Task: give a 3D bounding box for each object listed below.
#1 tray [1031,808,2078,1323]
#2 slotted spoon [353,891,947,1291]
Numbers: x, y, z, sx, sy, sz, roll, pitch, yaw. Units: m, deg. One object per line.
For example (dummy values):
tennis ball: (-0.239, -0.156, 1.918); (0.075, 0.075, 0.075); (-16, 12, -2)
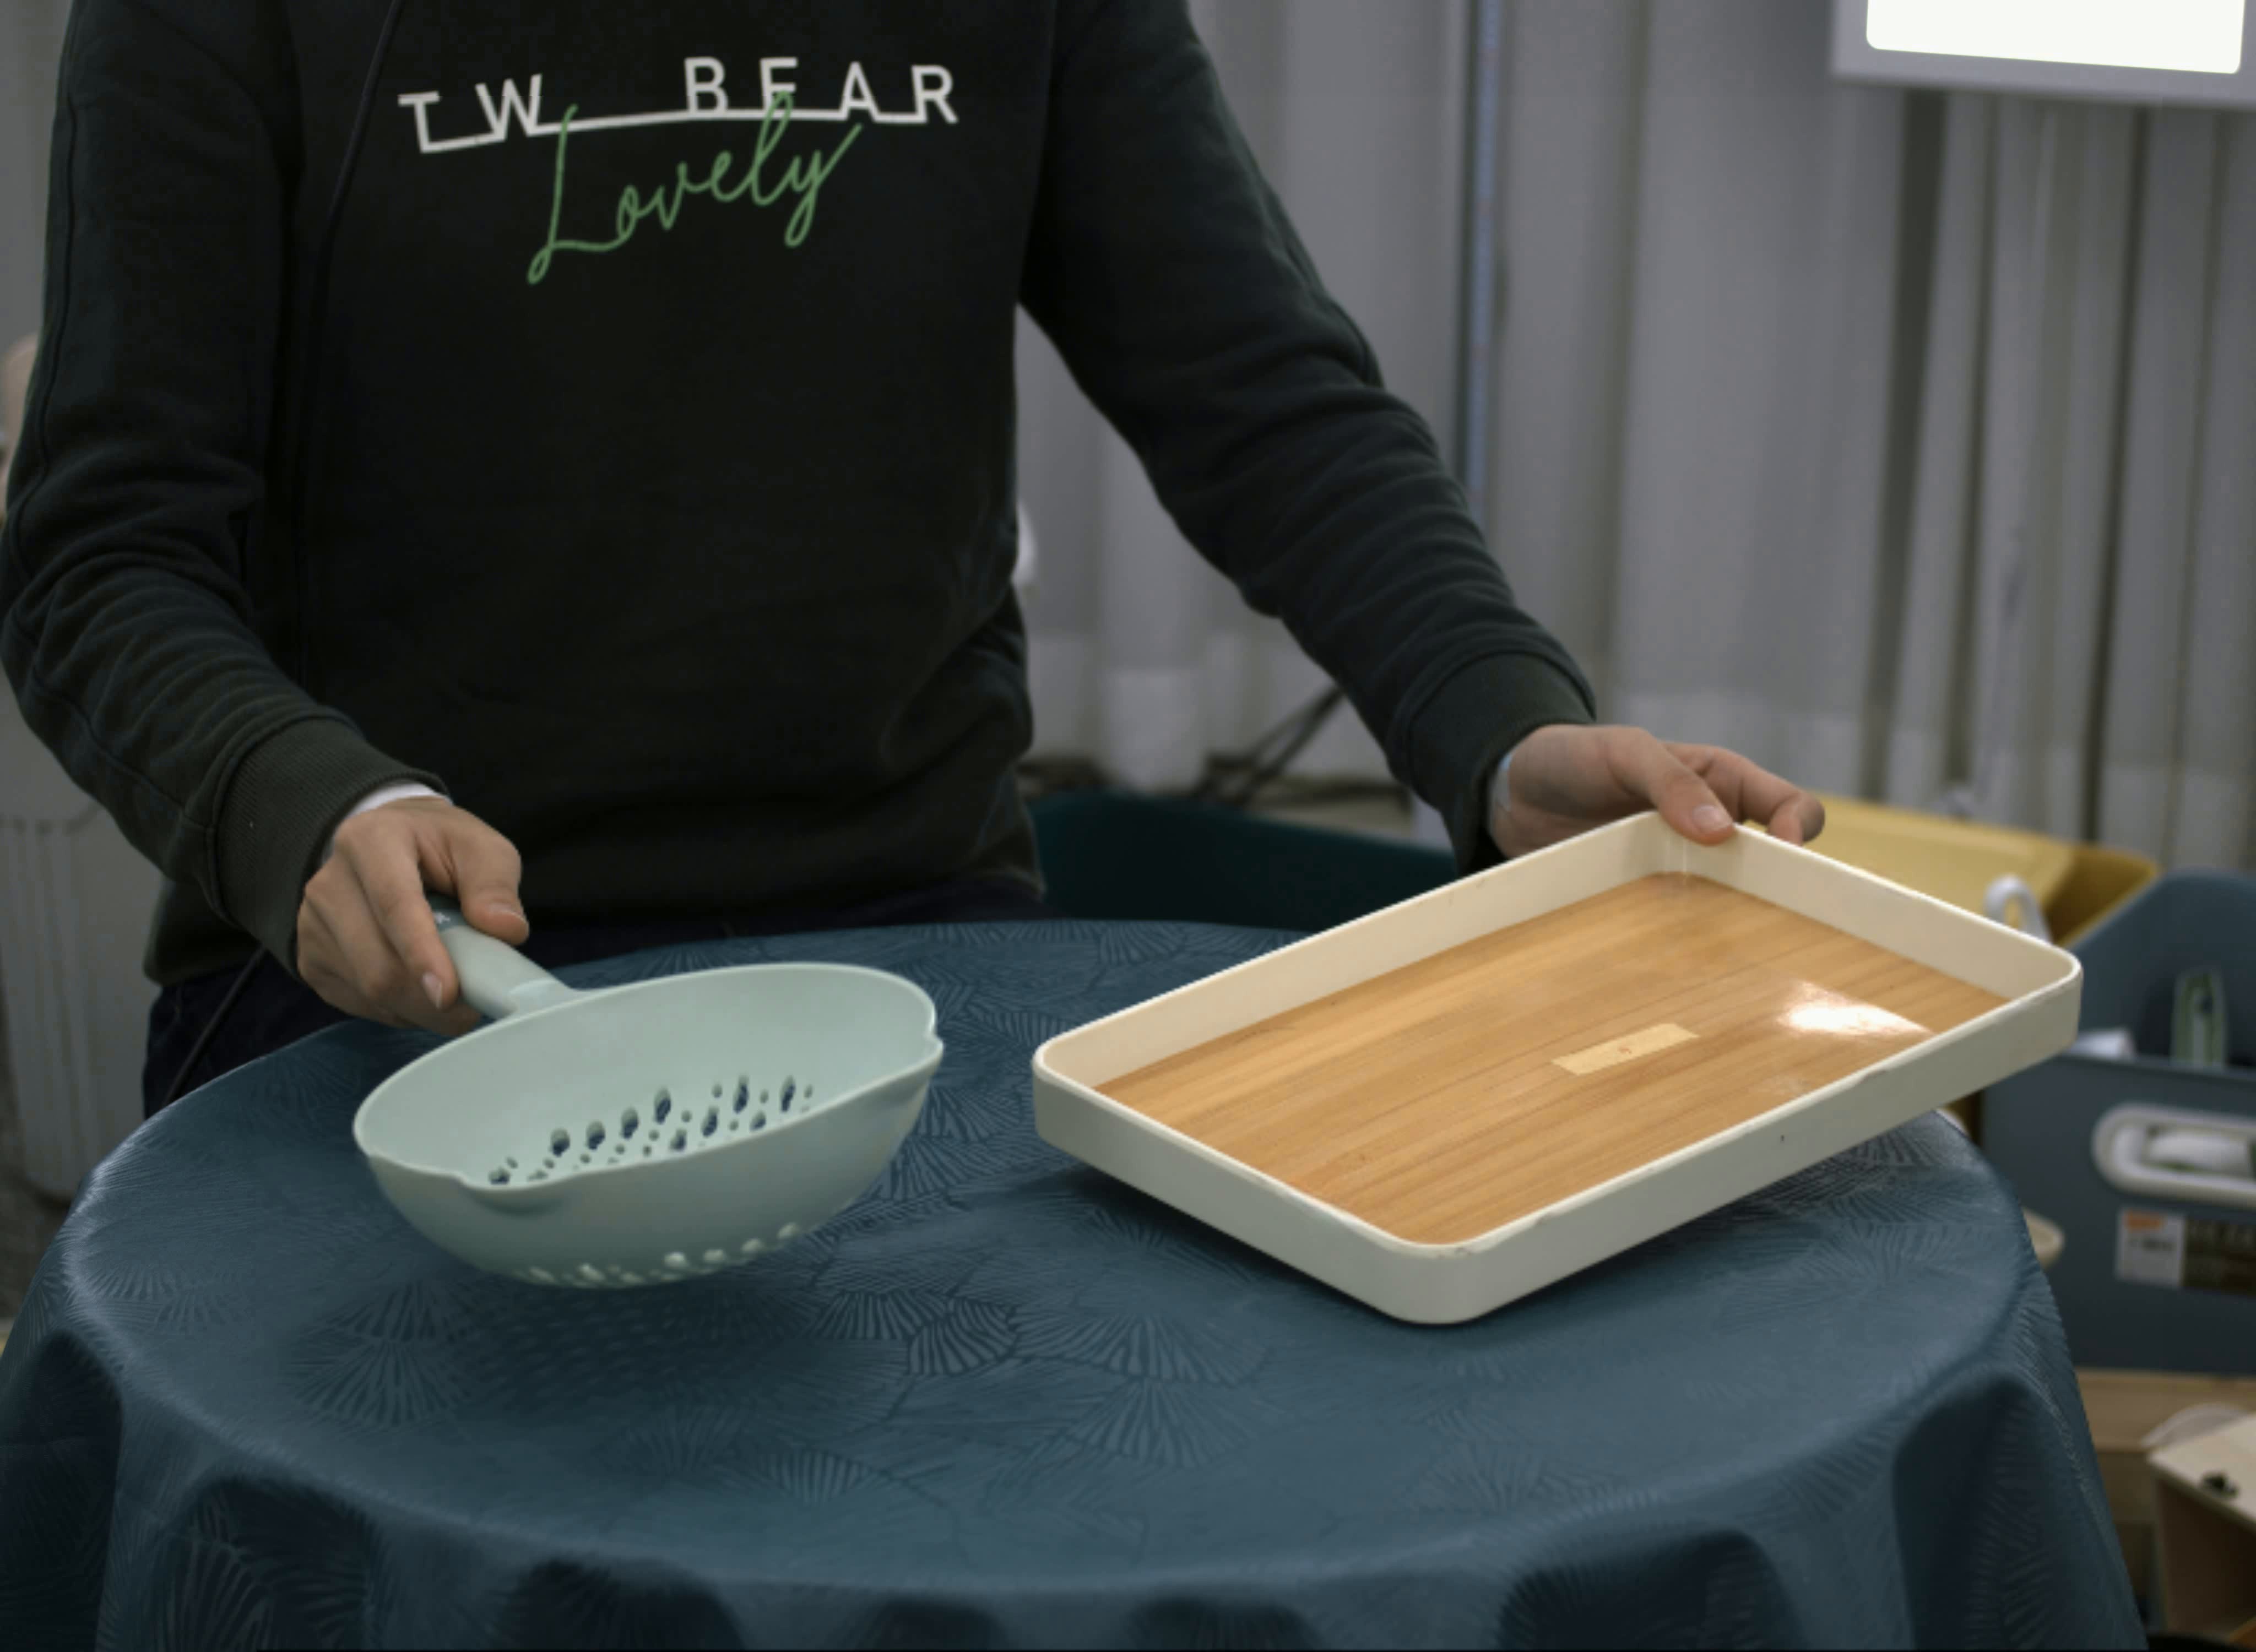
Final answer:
tray: (0.136, 0.069, 1.656); (0.301, 0.027, 0.189); (-19, 30, -38)
slotted spoon: (-0.172, 0.061, 1.585); (0.169, 0.076, 0.354); (-16, 25, -20)
